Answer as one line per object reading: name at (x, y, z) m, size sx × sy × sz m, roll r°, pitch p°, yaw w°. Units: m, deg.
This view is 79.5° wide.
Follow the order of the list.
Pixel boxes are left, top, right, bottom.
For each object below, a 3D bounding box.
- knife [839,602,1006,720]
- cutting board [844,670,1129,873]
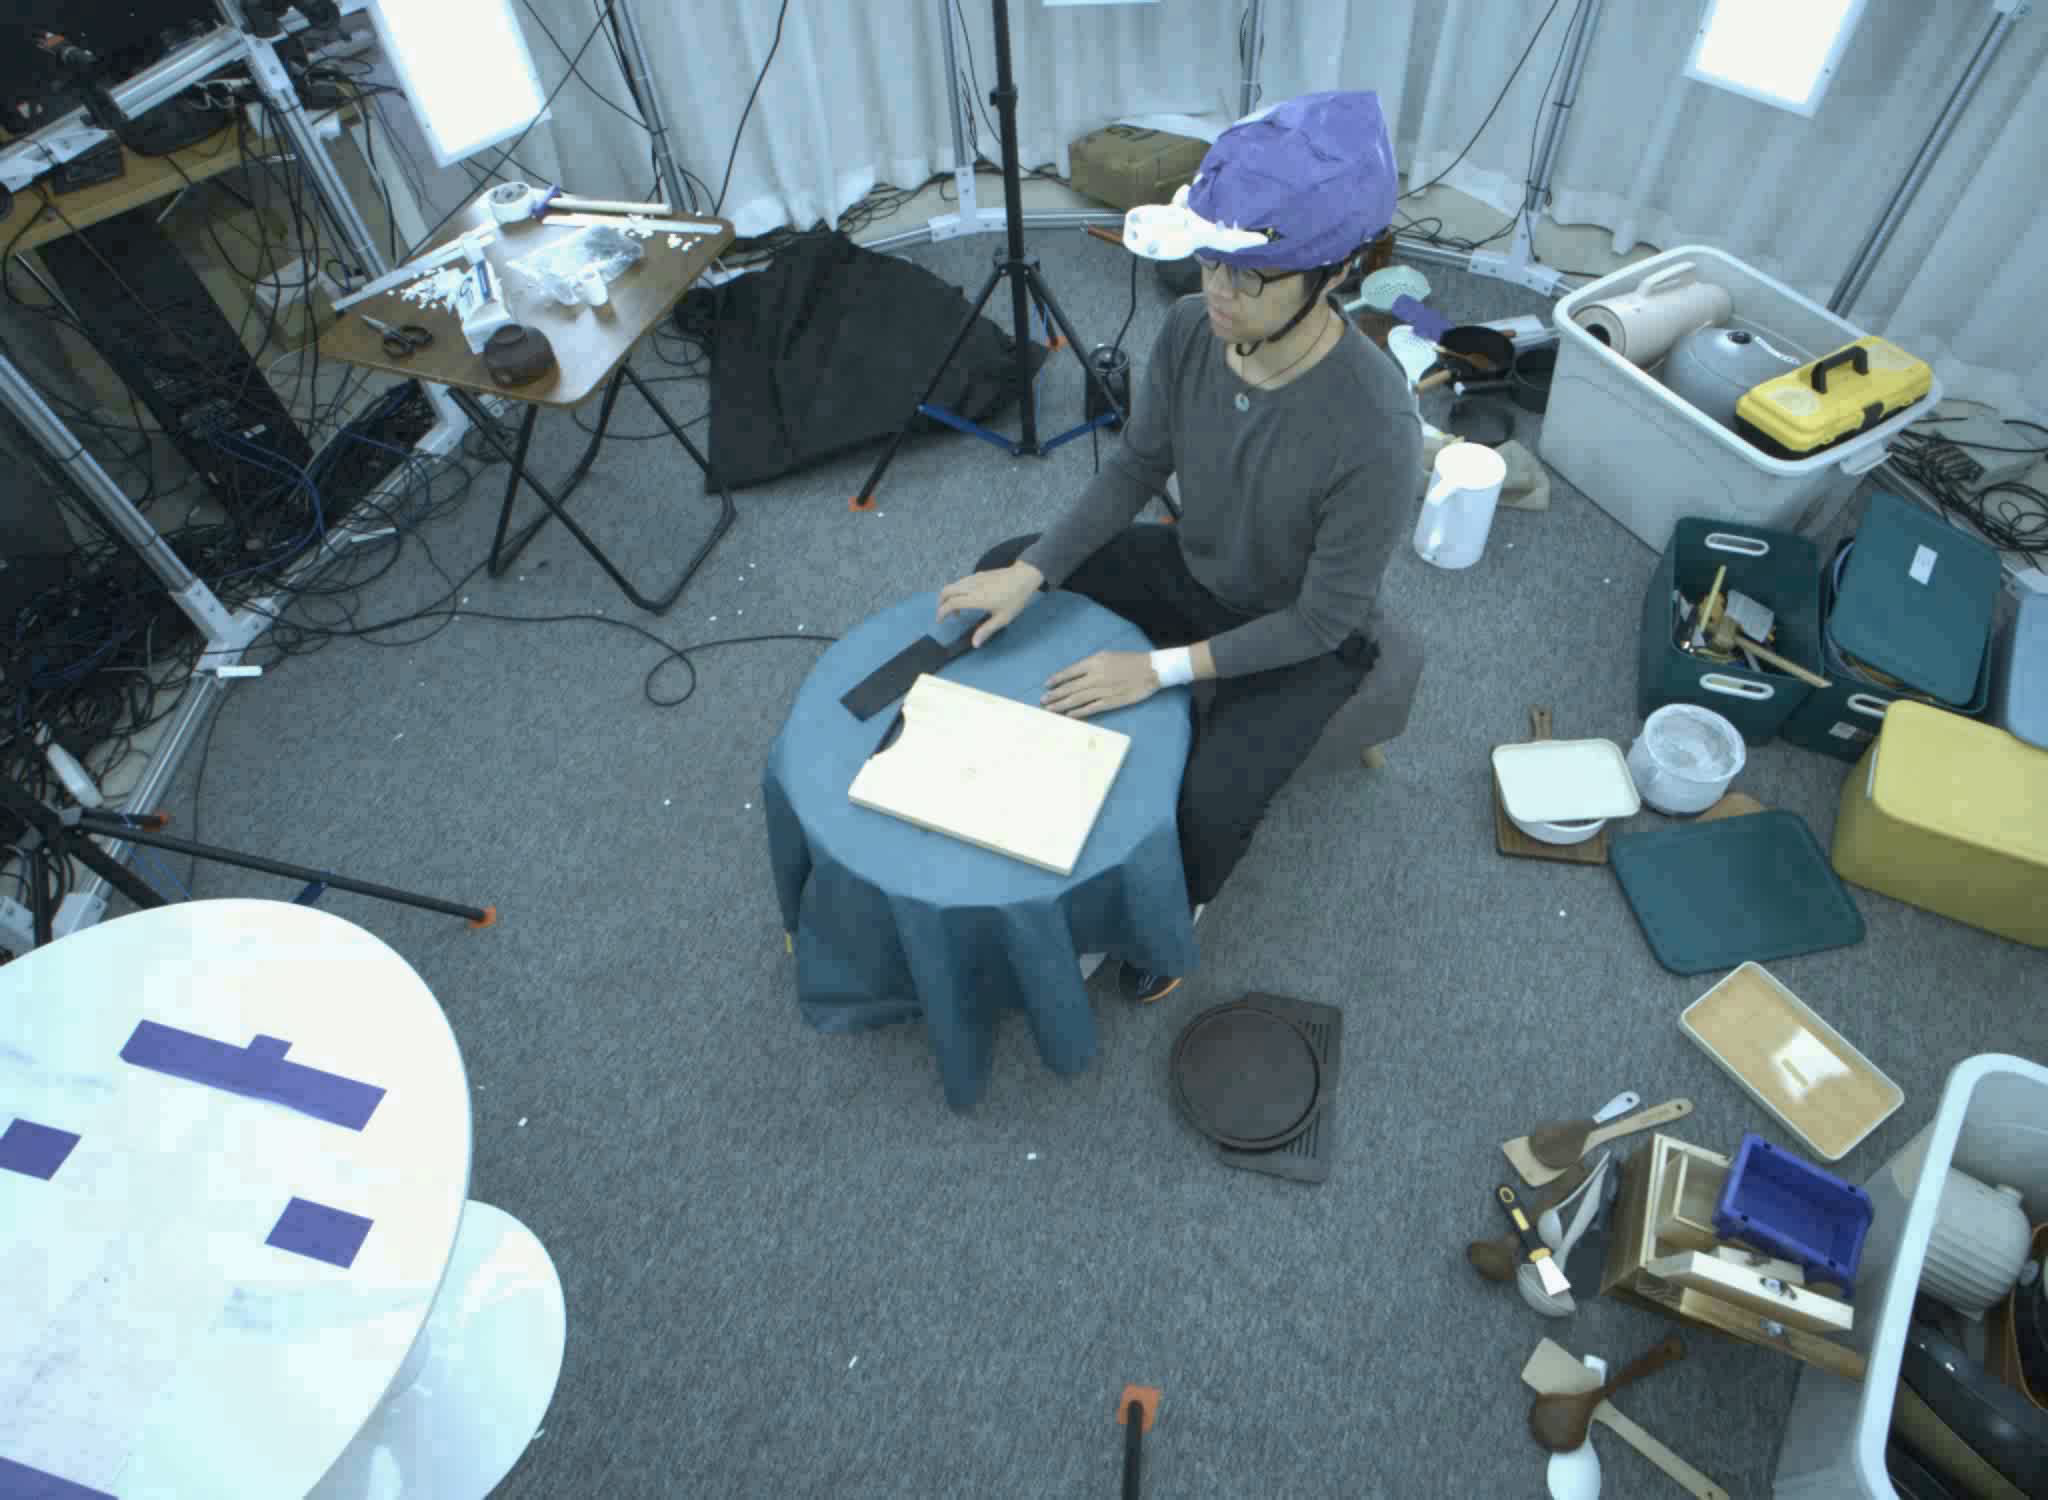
knife at (-0.151, -0.145, 1.894) m, size 0.304 × 0.021 × 0.079 m, roll -34°, pitch 59°, yaw -19°
cutting board at (-0.053, 0.024, 1.769) m, size 0.345 × 0.024 × 0.250 m, roll 17°, pitch 56°, yaw 13°
